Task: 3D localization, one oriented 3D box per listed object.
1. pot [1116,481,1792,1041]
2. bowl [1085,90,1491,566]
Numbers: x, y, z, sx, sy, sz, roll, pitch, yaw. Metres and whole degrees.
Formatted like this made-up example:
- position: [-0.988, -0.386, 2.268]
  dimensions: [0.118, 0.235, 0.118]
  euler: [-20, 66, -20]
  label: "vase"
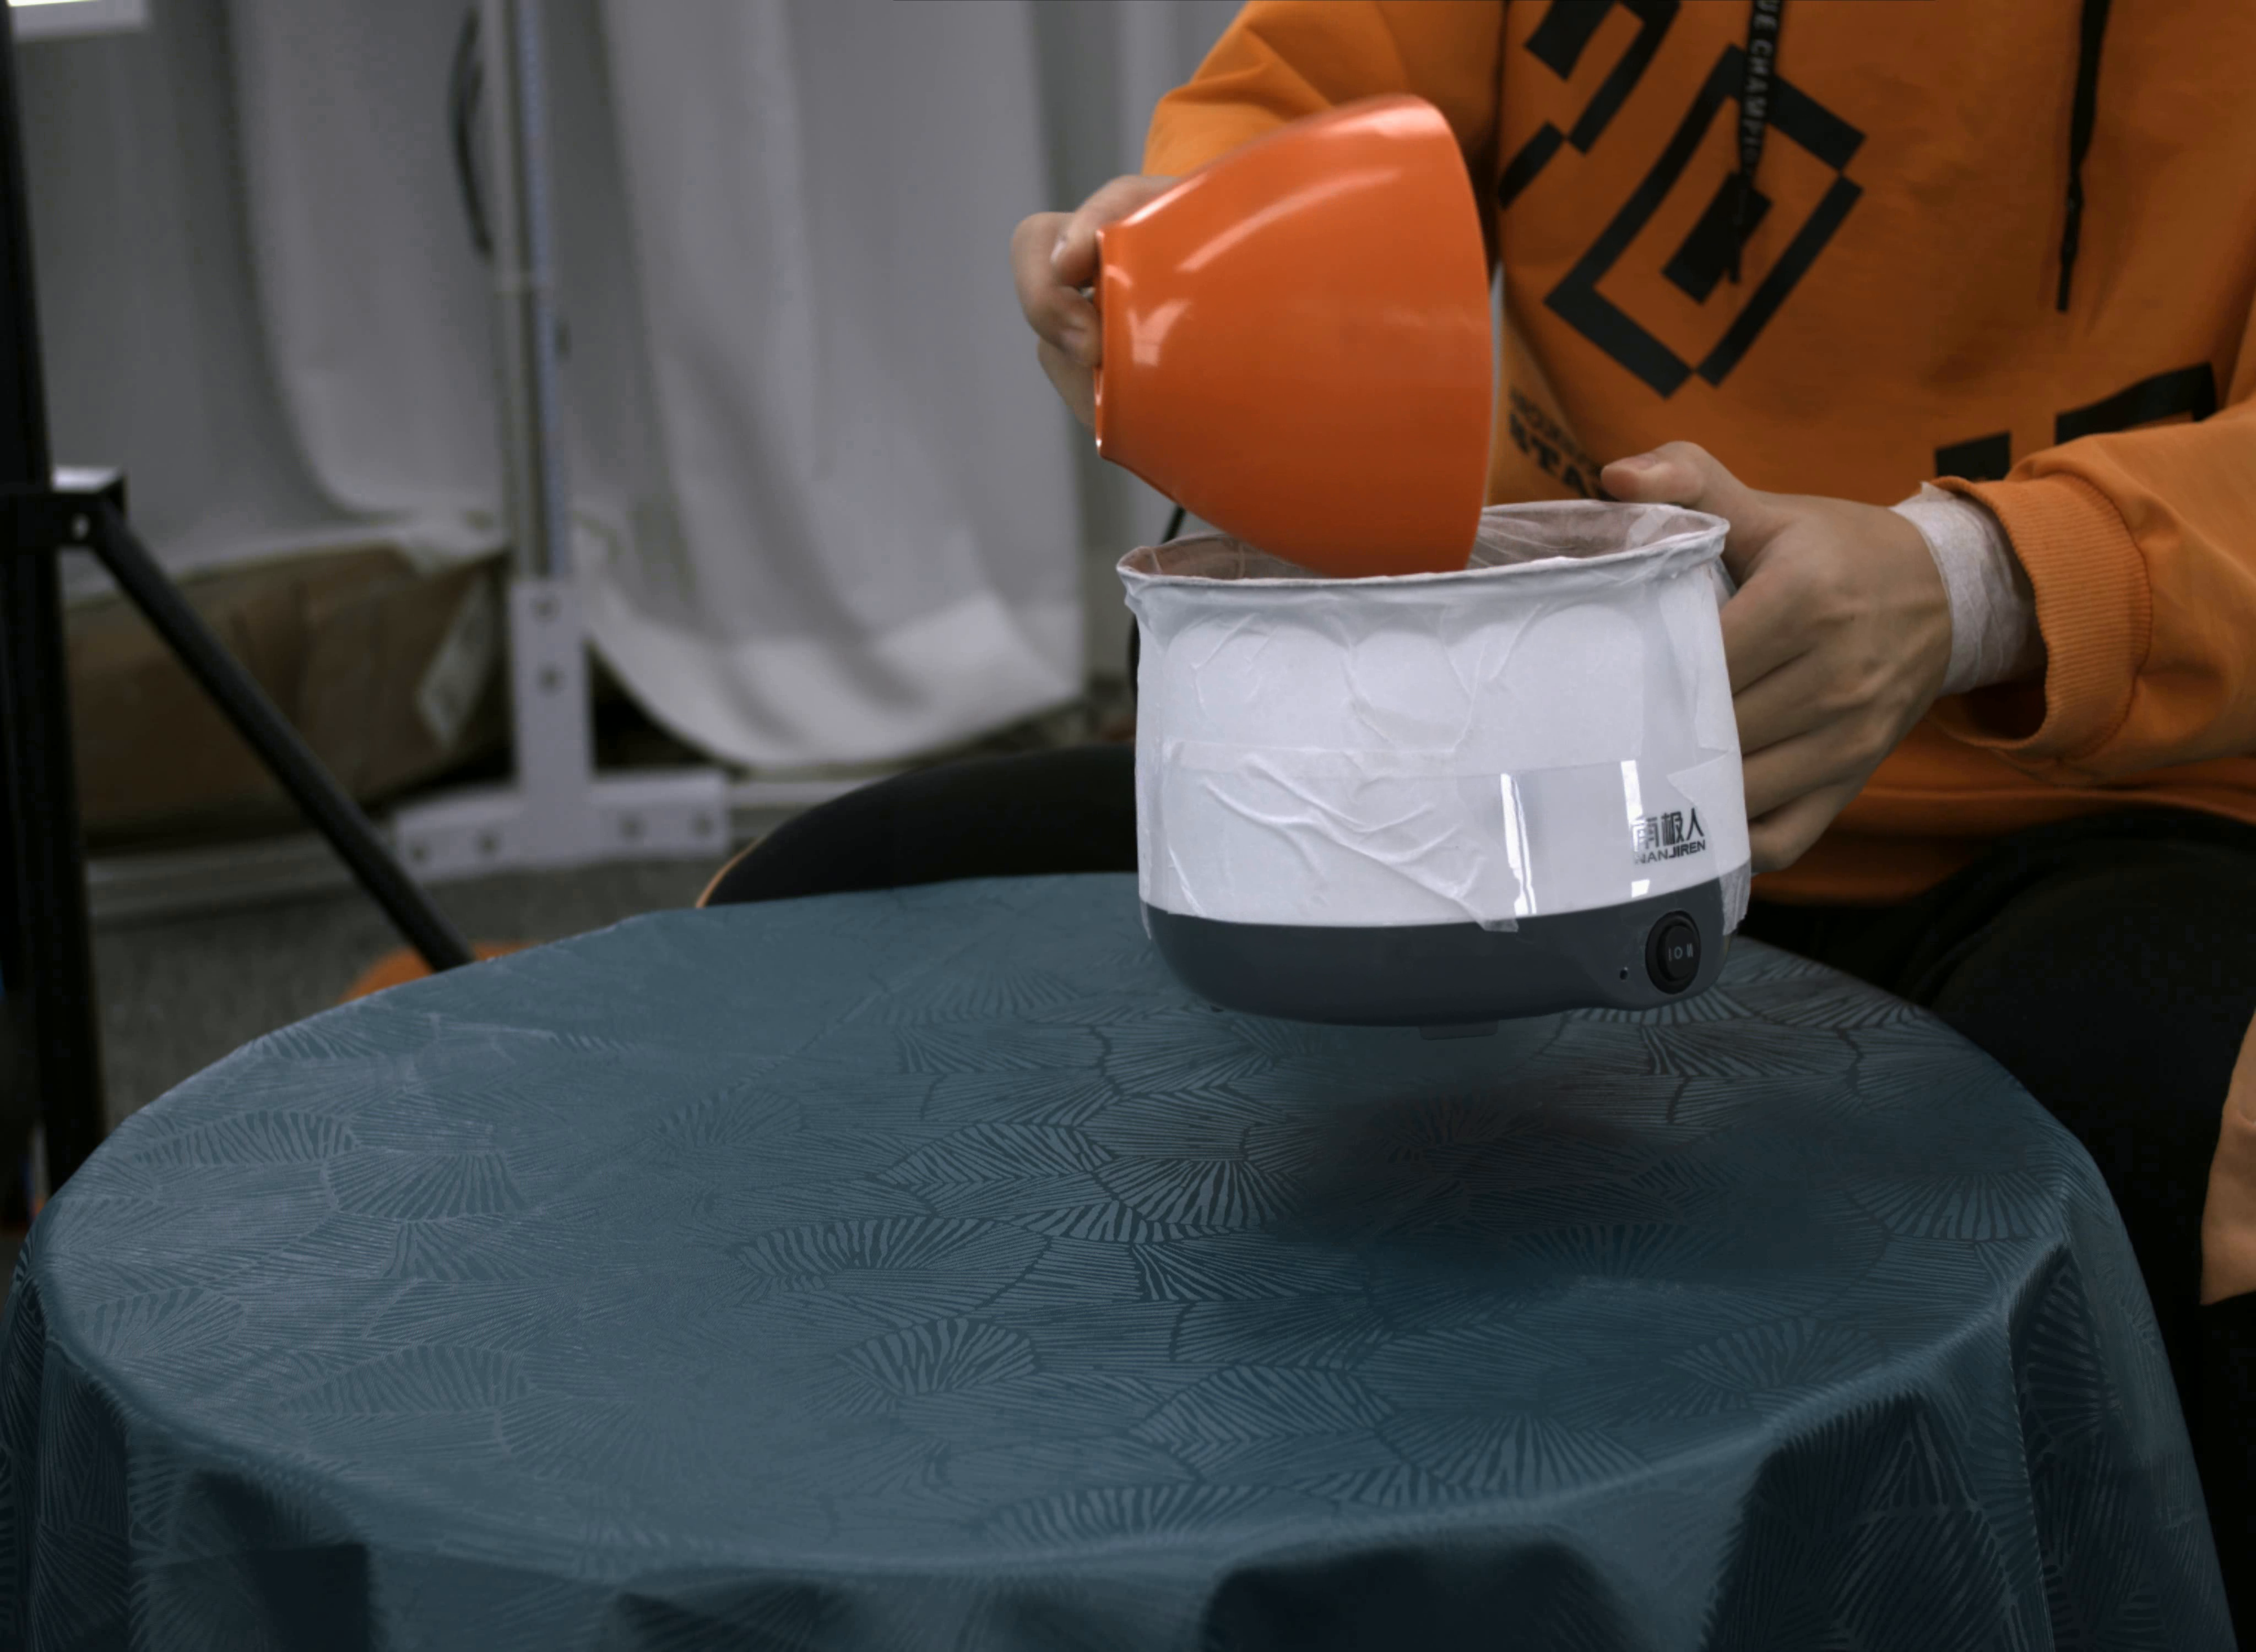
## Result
- position: [0.108, -0.023, 1.546]
  dimensions: [0.228, 0.137, 0.182]
  euler: [-12, 12, -43]
  label: "pot"
- position: [0.041, -0.136, 1.521]
  dimensions: [0.104, 0.148, 0.149]
  euler: [1, 15, -4]
  label: "bowl"
